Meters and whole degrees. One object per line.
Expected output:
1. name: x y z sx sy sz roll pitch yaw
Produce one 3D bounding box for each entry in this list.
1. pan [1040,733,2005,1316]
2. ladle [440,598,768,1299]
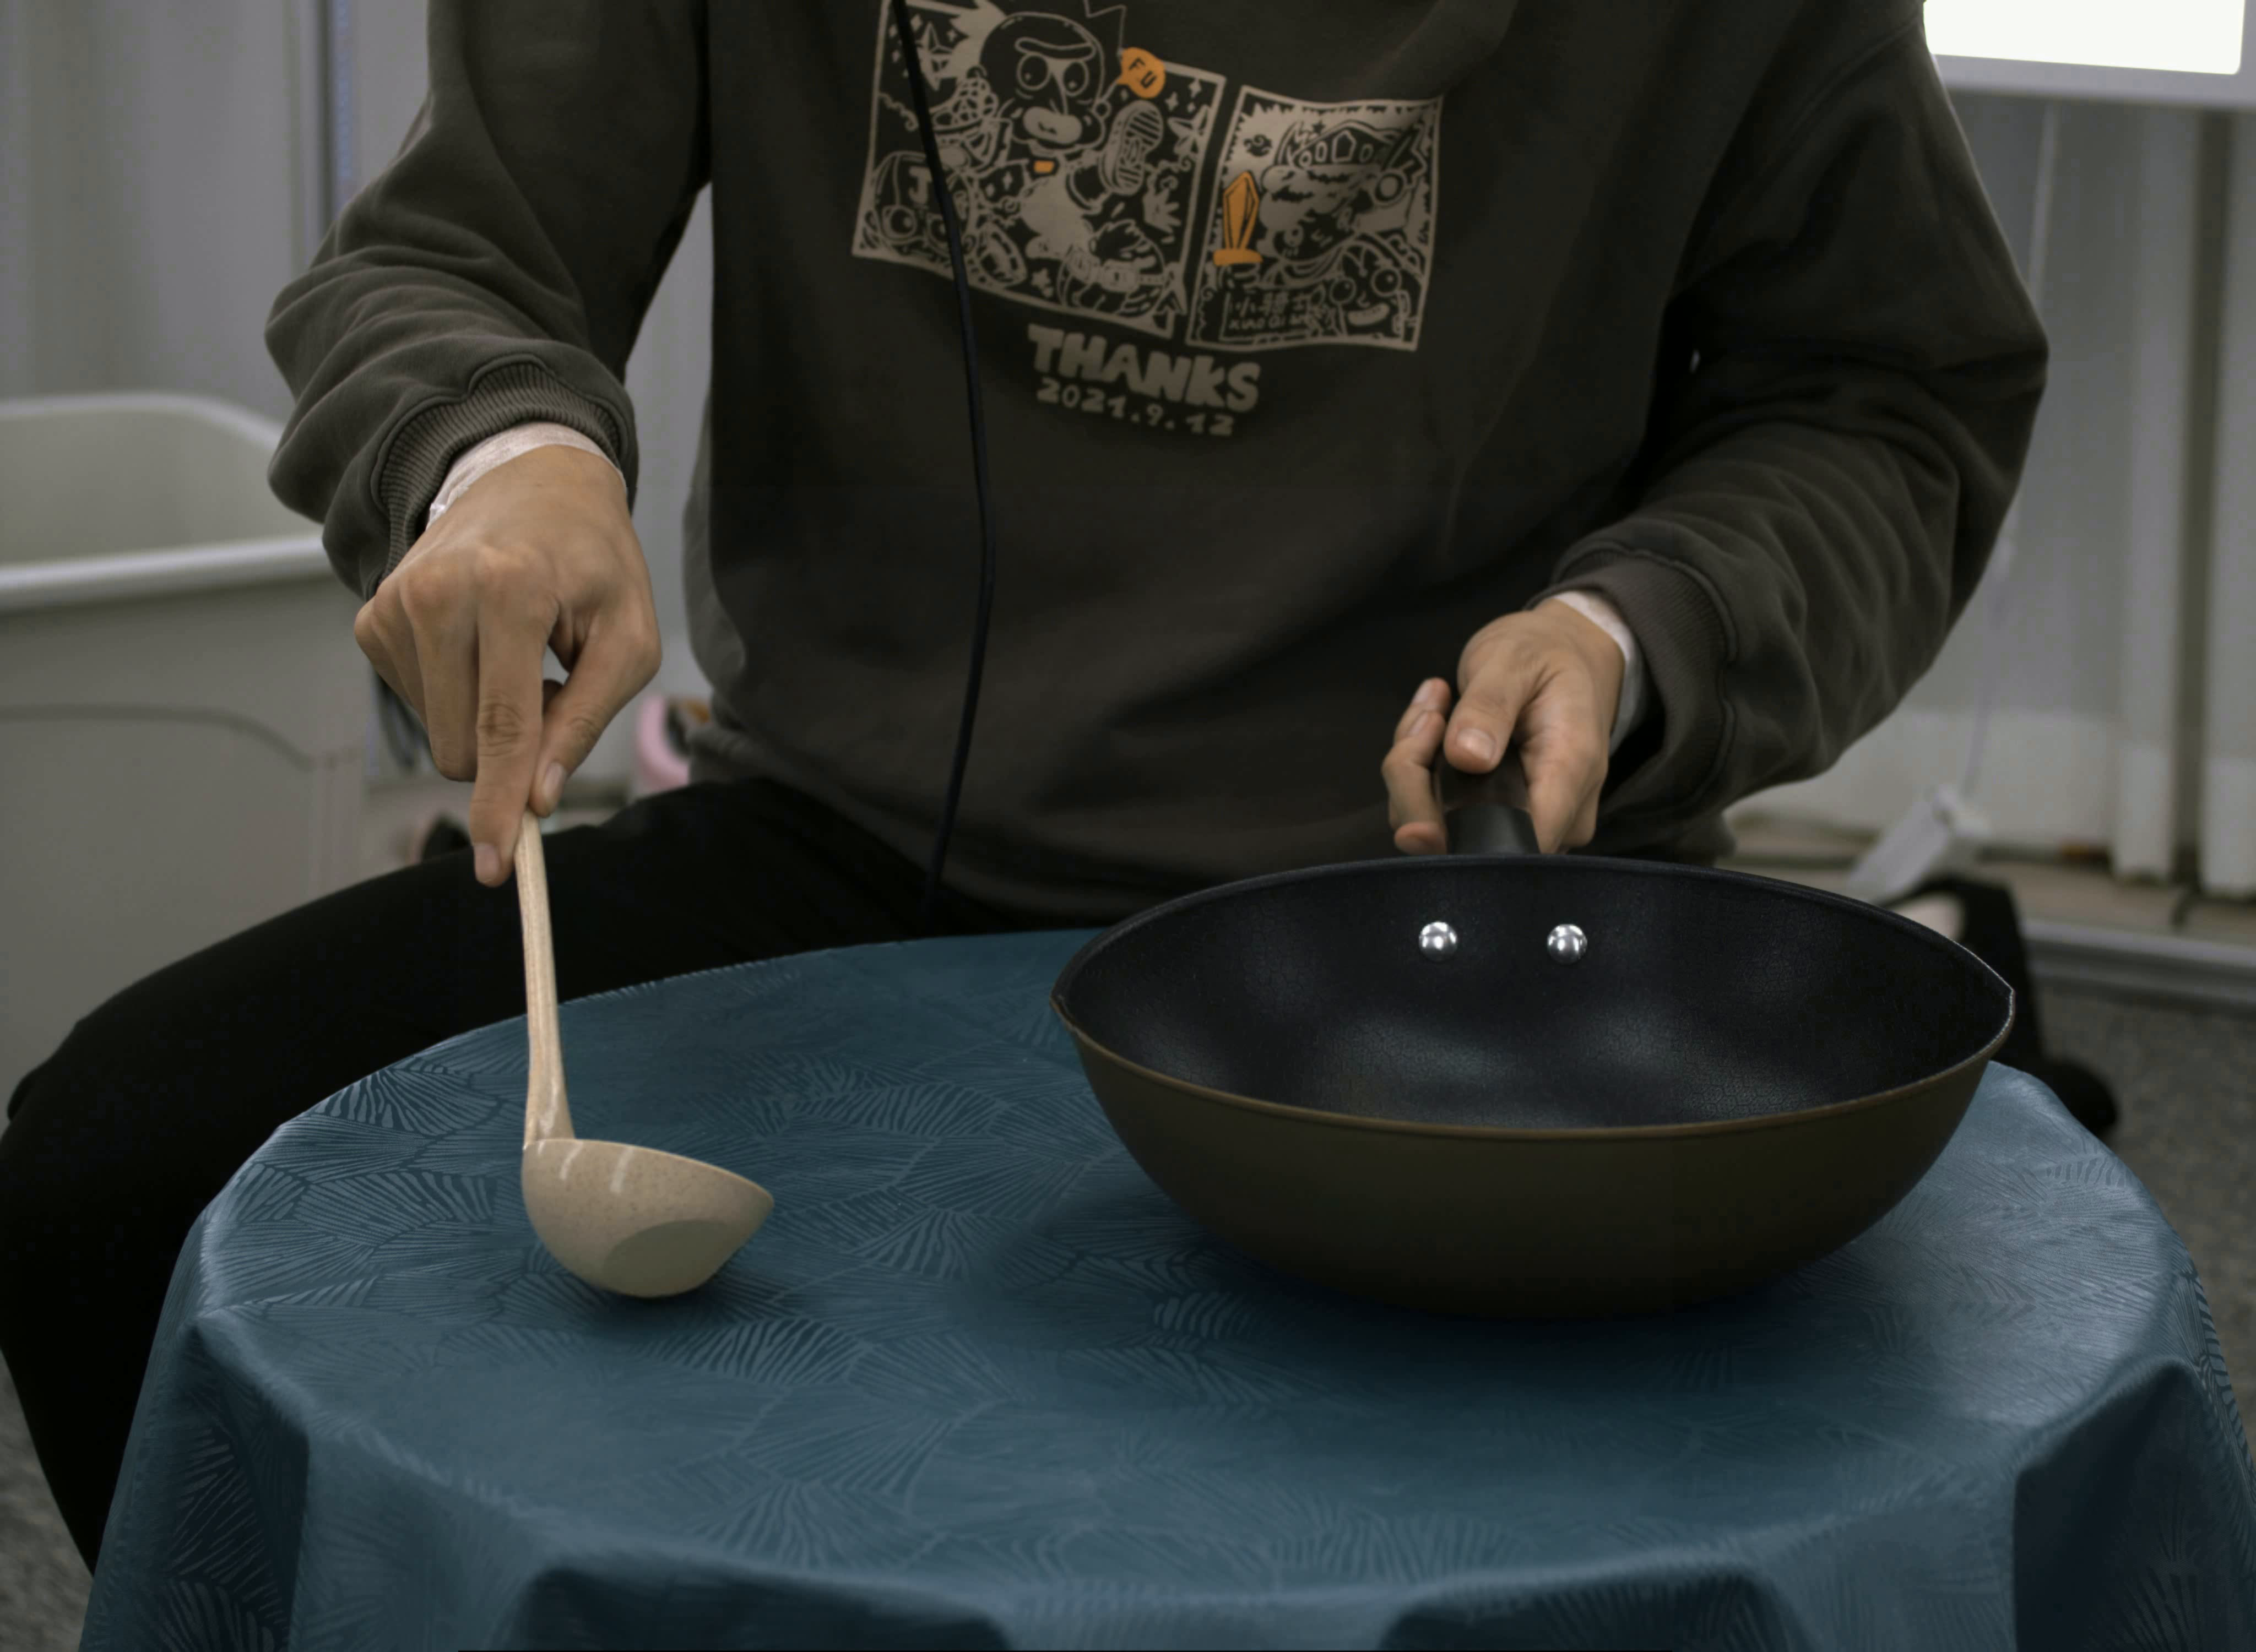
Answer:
1. pan: 0.117 0.060 1.666 0.287 0.087 0.461 0 15 0
2. ladle: -0.160 0.021 1.574 0.072 0.252 0.073 -29 -33 27
